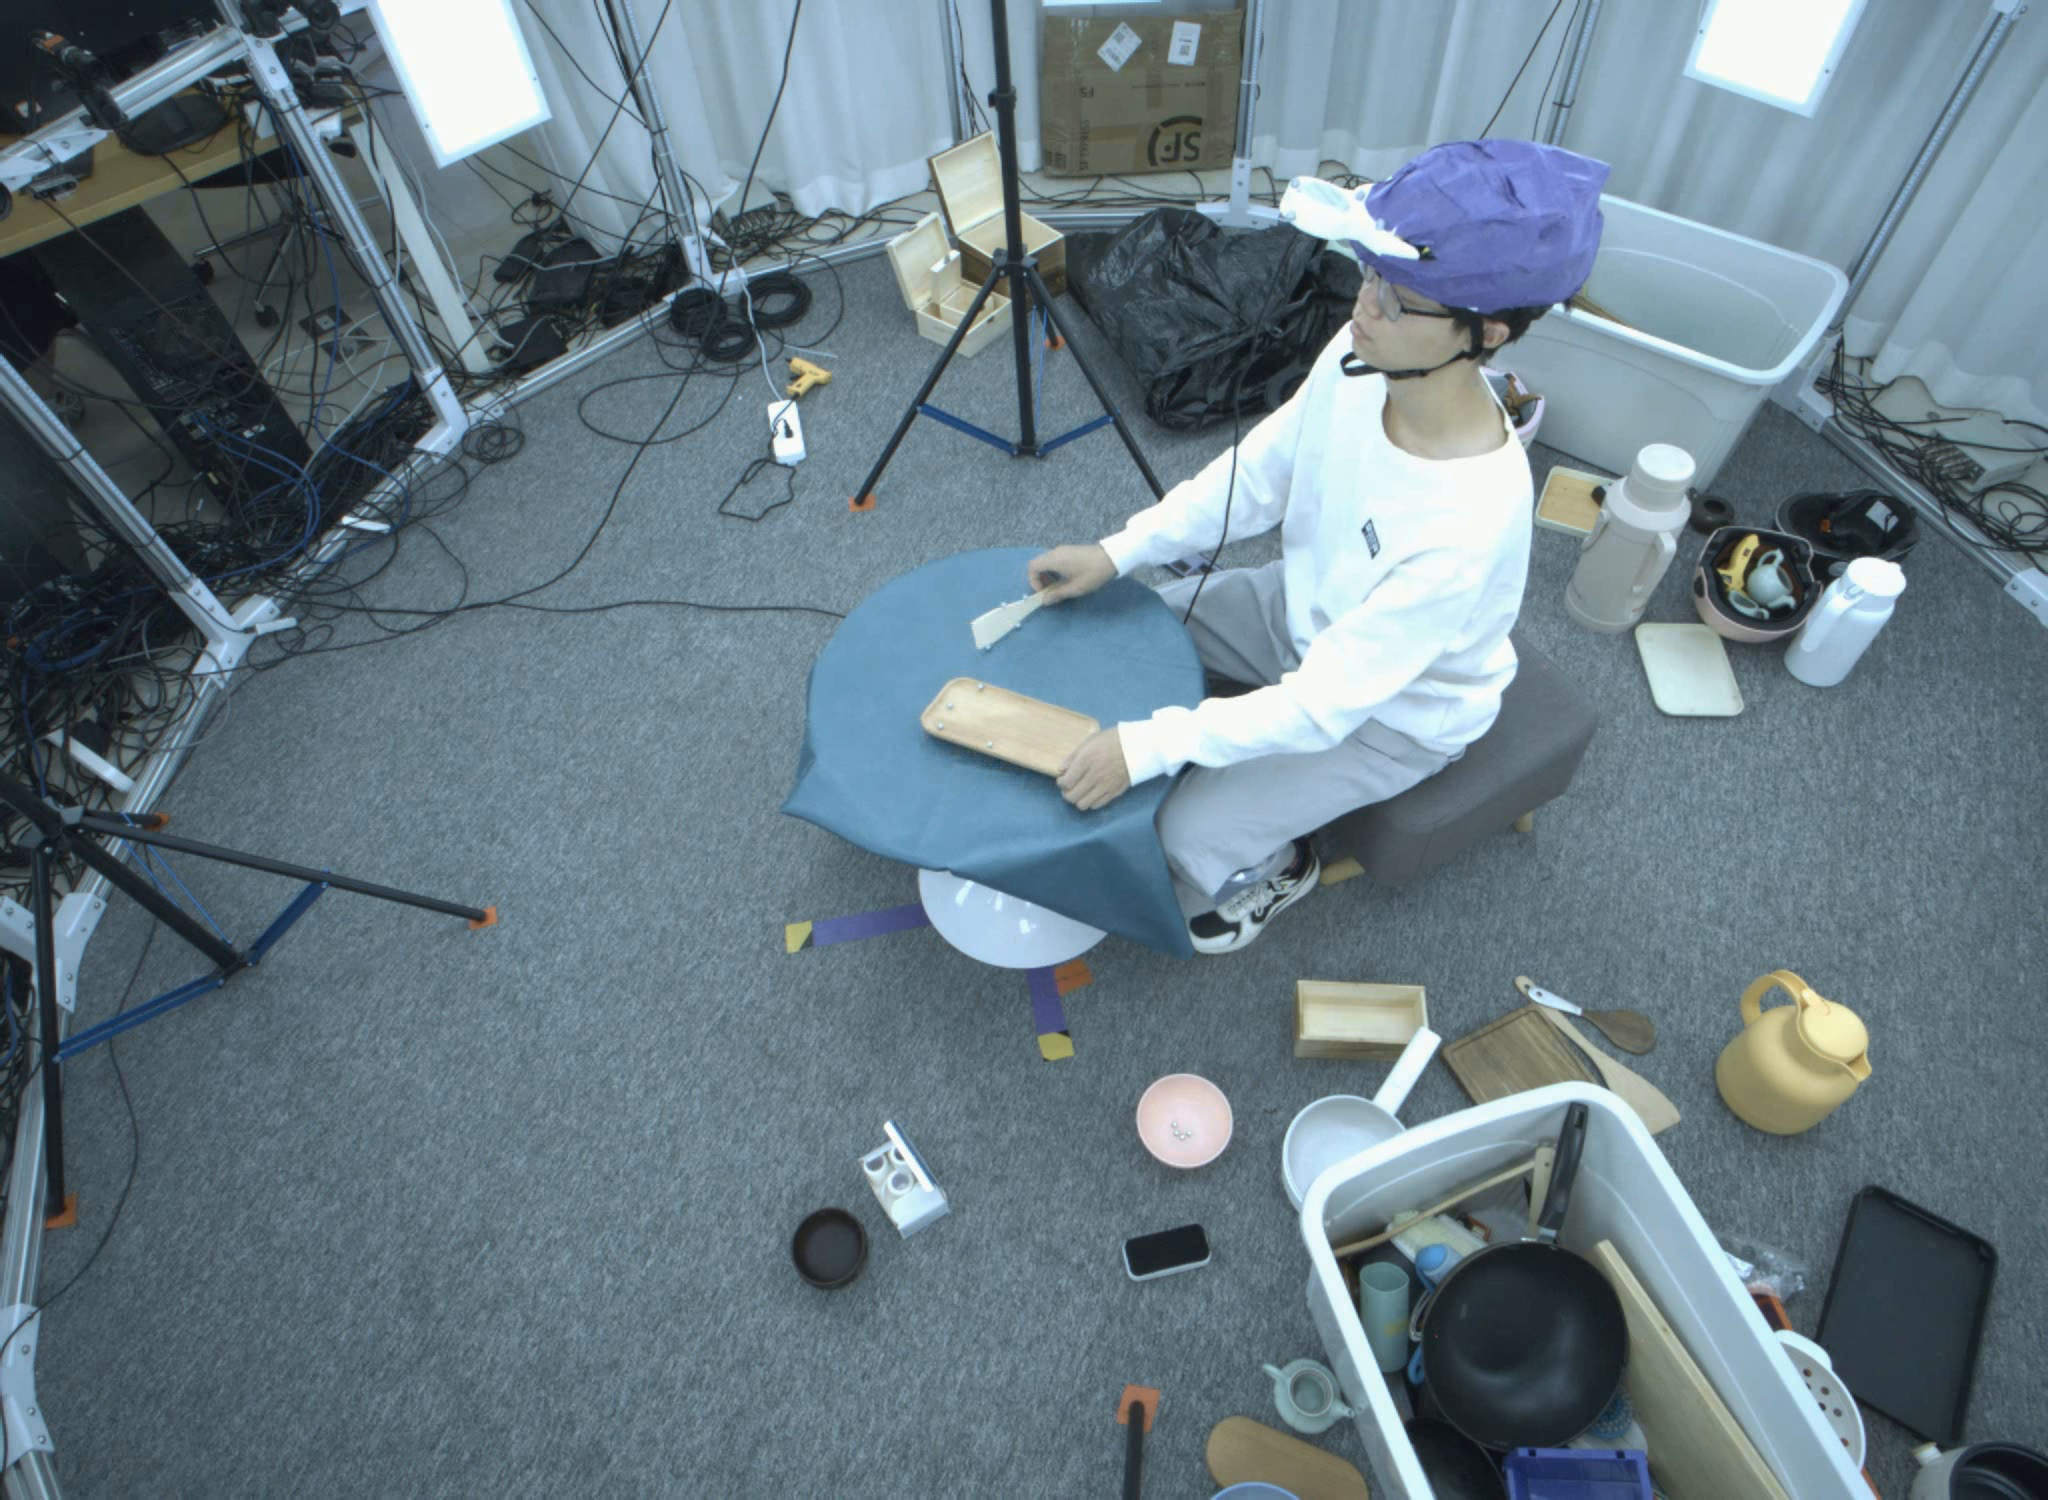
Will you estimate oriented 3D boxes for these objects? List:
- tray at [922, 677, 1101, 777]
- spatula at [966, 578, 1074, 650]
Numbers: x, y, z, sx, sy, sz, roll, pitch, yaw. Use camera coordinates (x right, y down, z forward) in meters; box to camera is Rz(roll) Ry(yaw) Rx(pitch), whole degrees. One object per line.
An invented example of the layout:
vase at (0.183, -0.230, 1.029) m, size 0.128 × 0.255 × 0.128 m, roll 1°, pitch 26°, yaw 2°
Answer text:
tray at (-0.018, -0.035, 1.786) m, size 0.247 × 0.023 × 0.131 m, roll 19°, pitch 51°, yaw 16°
spatula at (-0.003, -0.220, 1.917) m, size 0.210 × 0.051 × 0.005 m, roll -30°, pitch 31°, yaw -26°
